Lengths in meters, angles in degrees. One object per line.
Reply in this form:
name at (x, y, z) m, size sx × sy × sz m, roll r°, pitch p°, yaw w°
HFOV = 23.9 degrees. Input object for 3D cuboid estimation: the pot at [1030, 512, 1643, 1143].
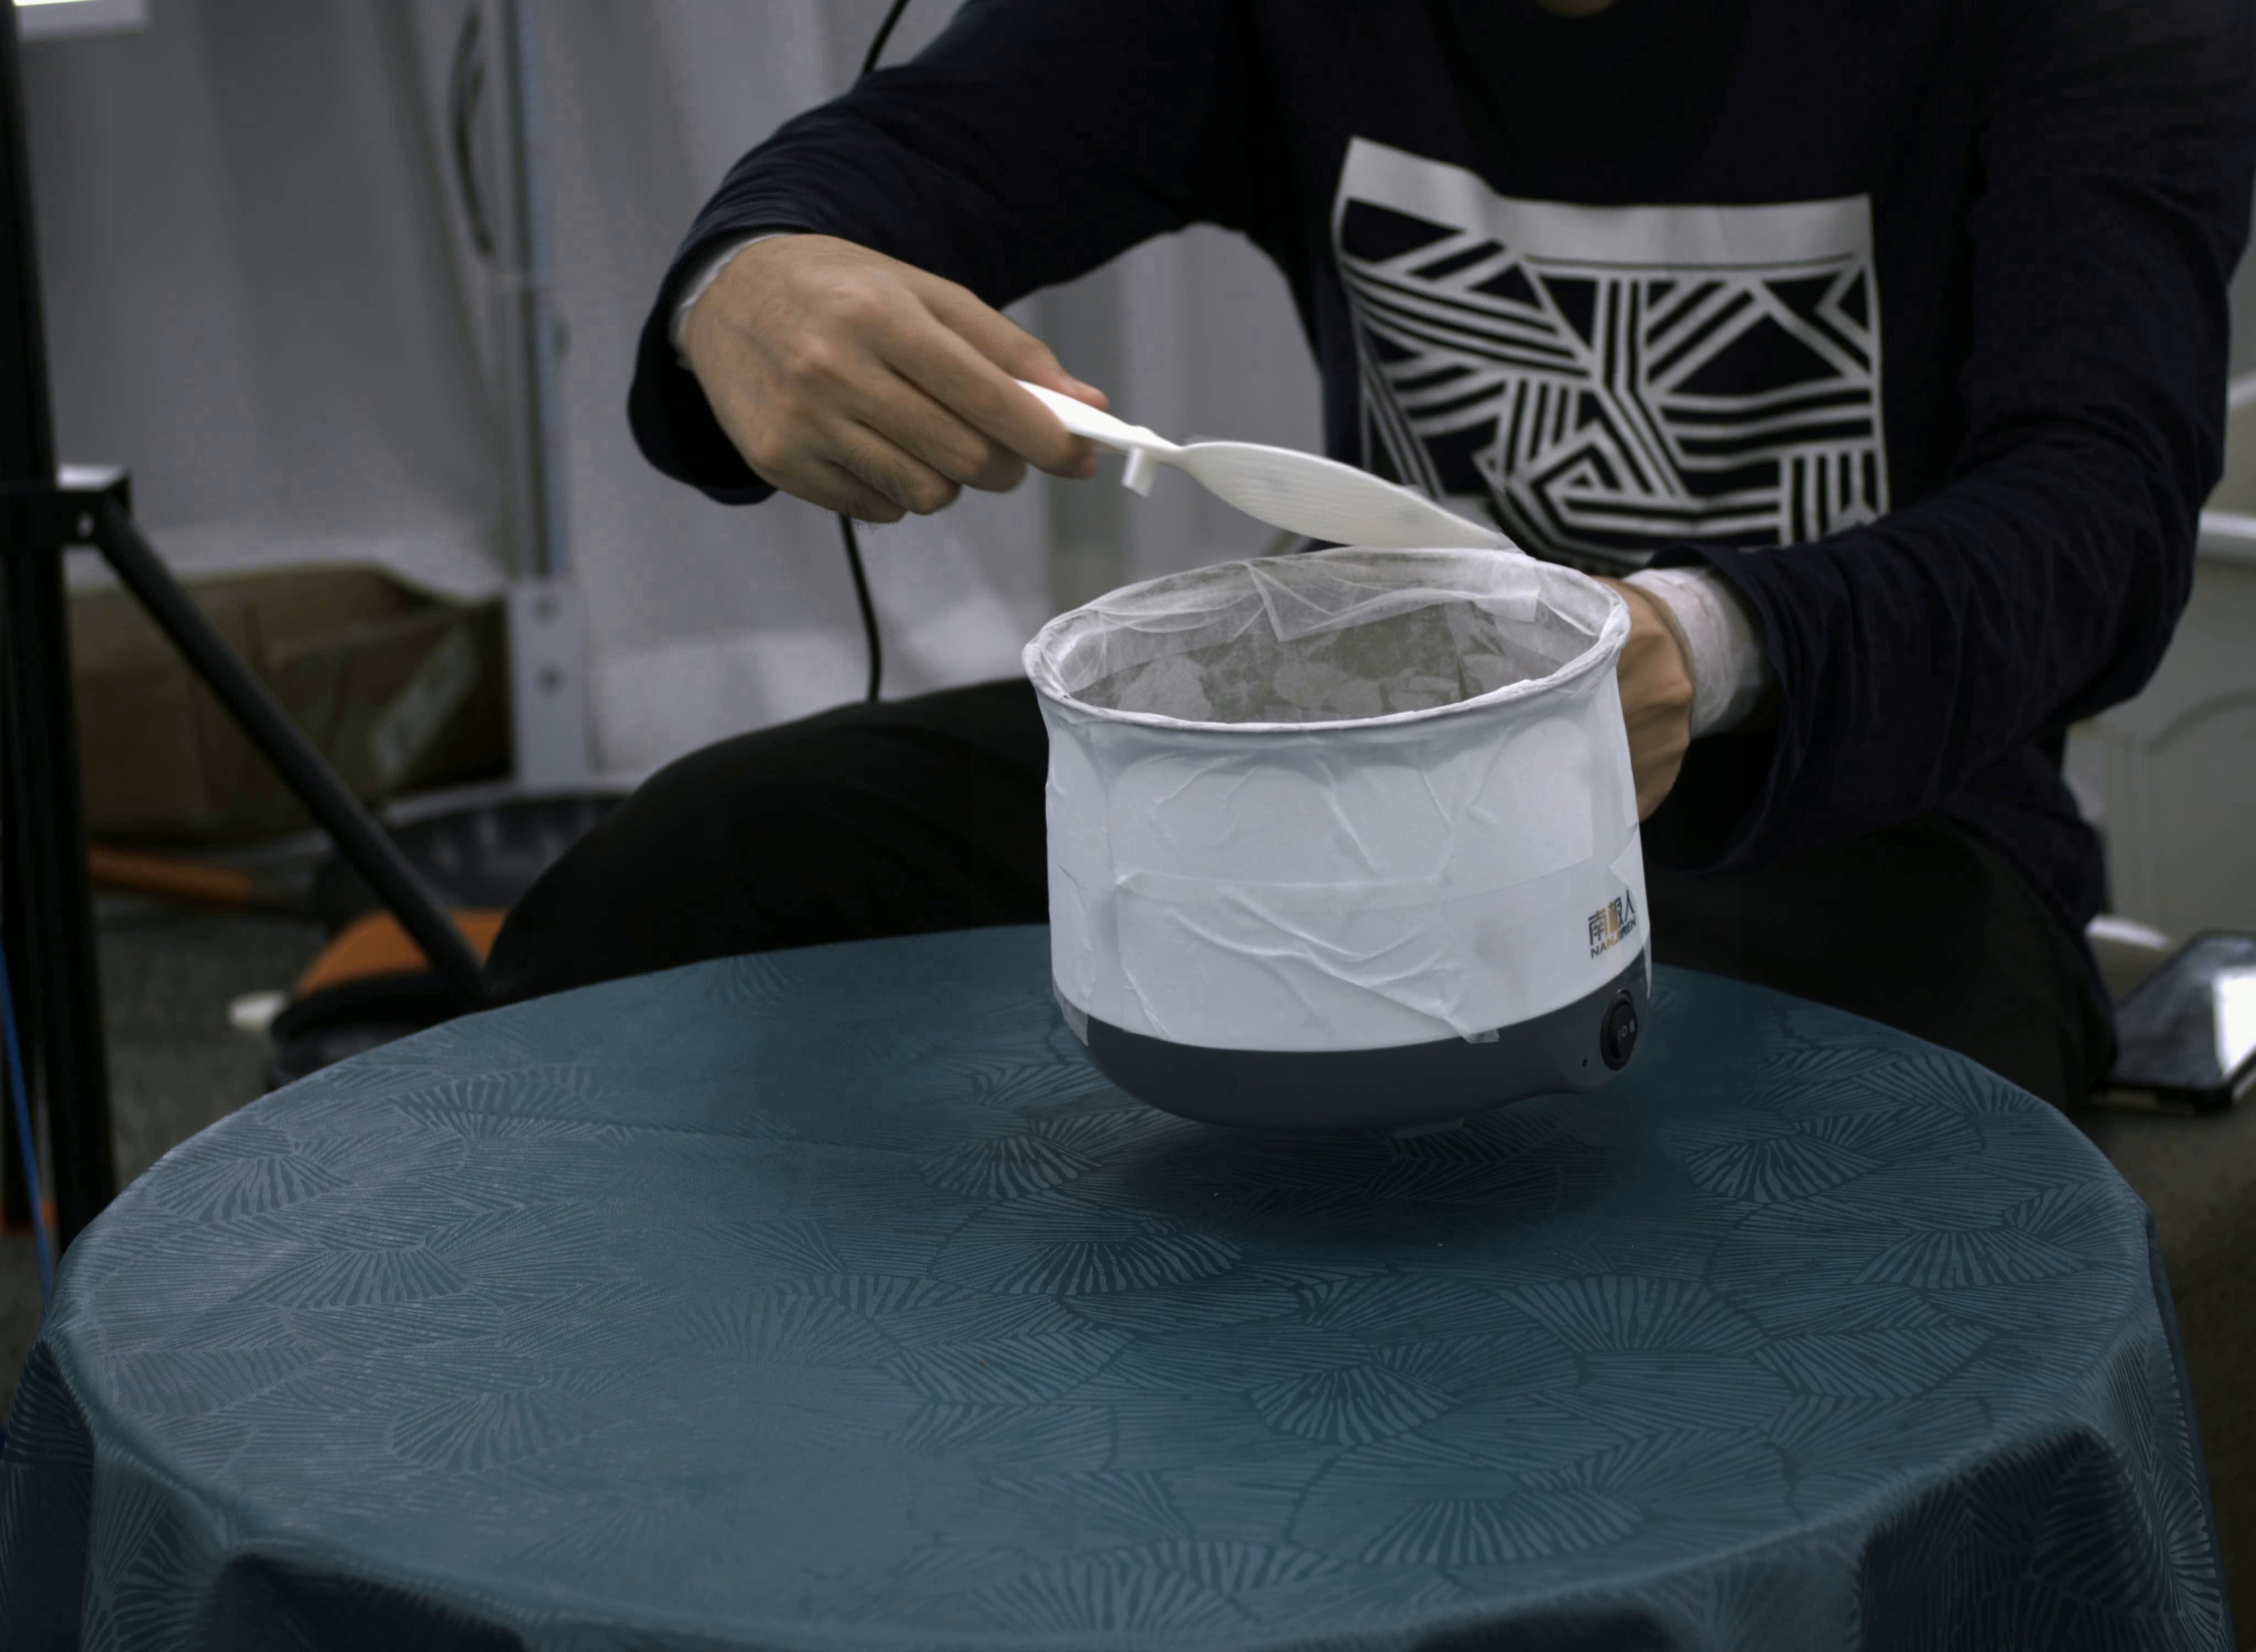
pot at (0.075, -0.007, 1.578) m, size 0.182 × 0.136 × 0.230 m, roll 8°, pitch 24°, yaw 28°

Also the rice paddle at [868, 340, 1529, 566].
rice paddle at (0.023, -0.109, 1.599) m, size 0.207 × 0.029 × 0.068 m, roll 14°, pitch -15°, yaw 14°
